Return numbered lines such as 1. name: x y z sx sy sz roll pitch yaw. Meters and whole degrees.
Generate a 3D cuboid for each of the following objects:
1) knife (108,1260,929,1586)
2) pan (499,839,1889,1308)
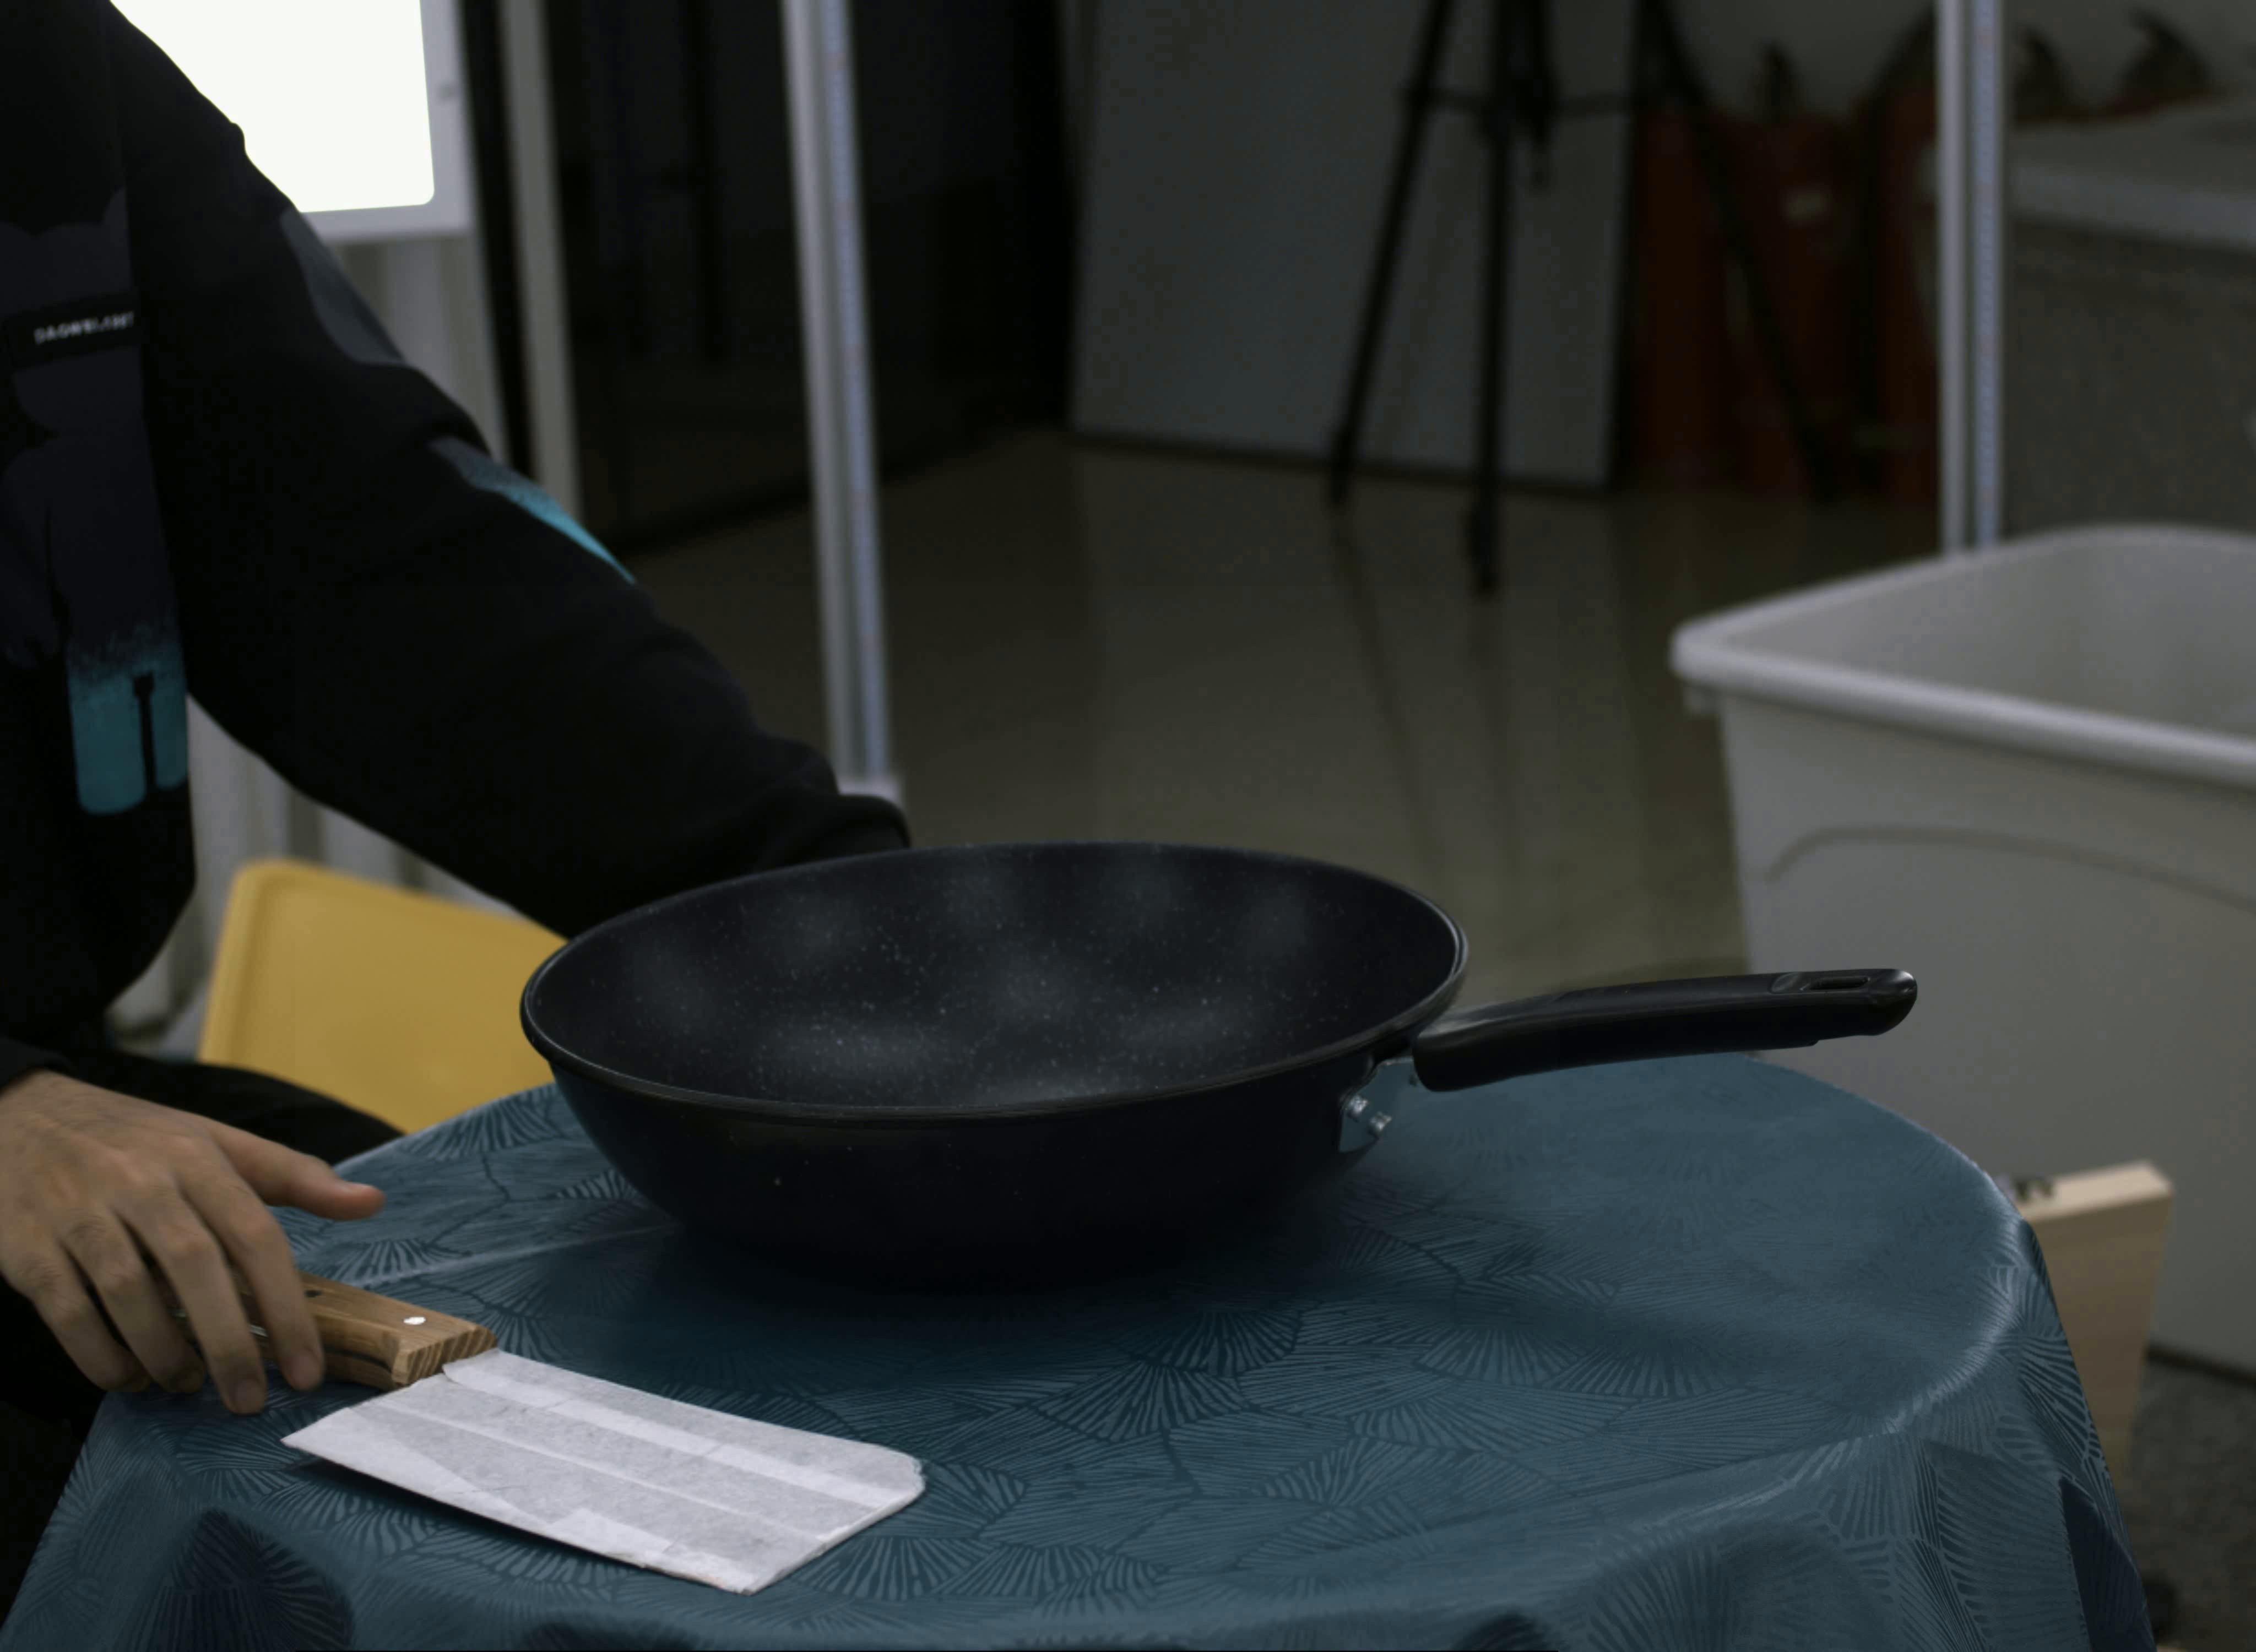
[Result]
1. knife: -0.189 0.172 1.585 0.318 0.022 0.111 12 21 42
2. pan: 0.023 0.081 1.703 0.479 0.113 0.305 5 18 32
